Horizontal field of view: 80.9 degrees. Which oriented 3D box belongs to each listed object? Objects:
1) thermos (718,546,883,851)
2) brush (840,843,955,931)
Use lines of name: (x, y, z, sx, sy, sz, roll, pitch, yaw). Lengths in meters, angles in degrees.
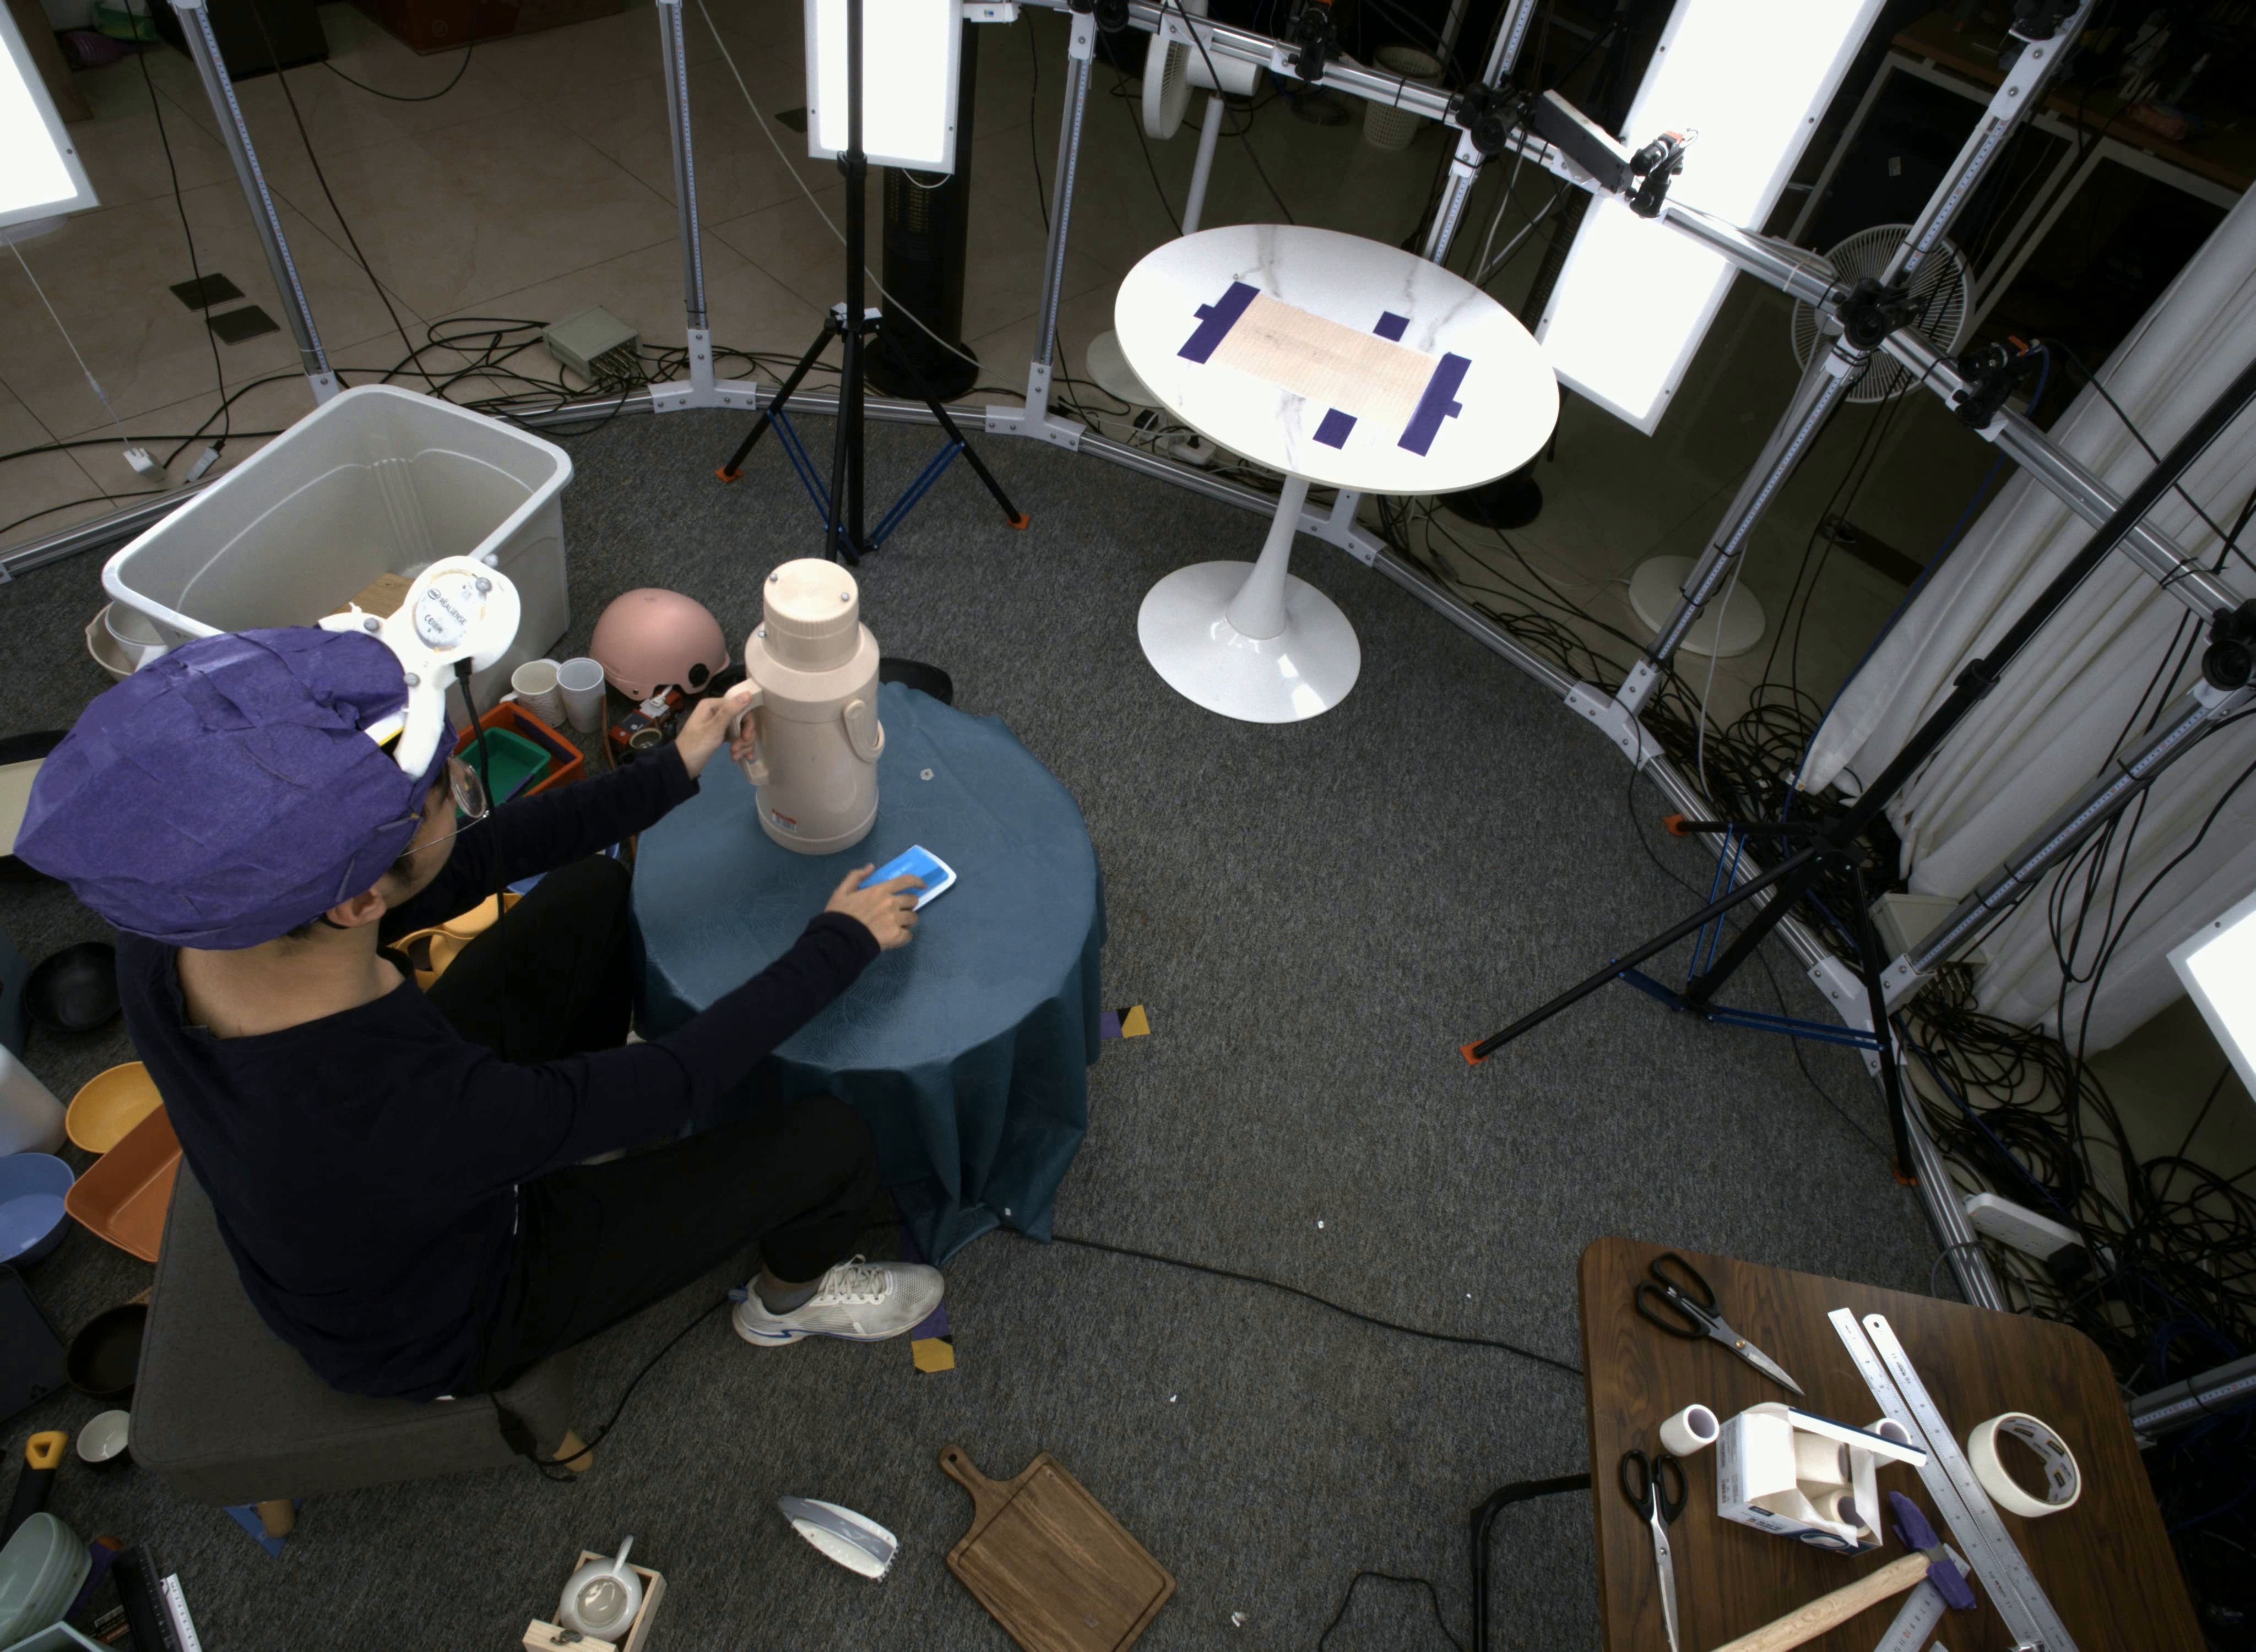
thermos: (-0.400, -0.145, 1.583, 0.207, 0.414, 0.171, -35, 67, -30)
brush: (-0.295, 0.070, 1.665, 0.081, 0.057, 0.144, 40, 51, 23)
